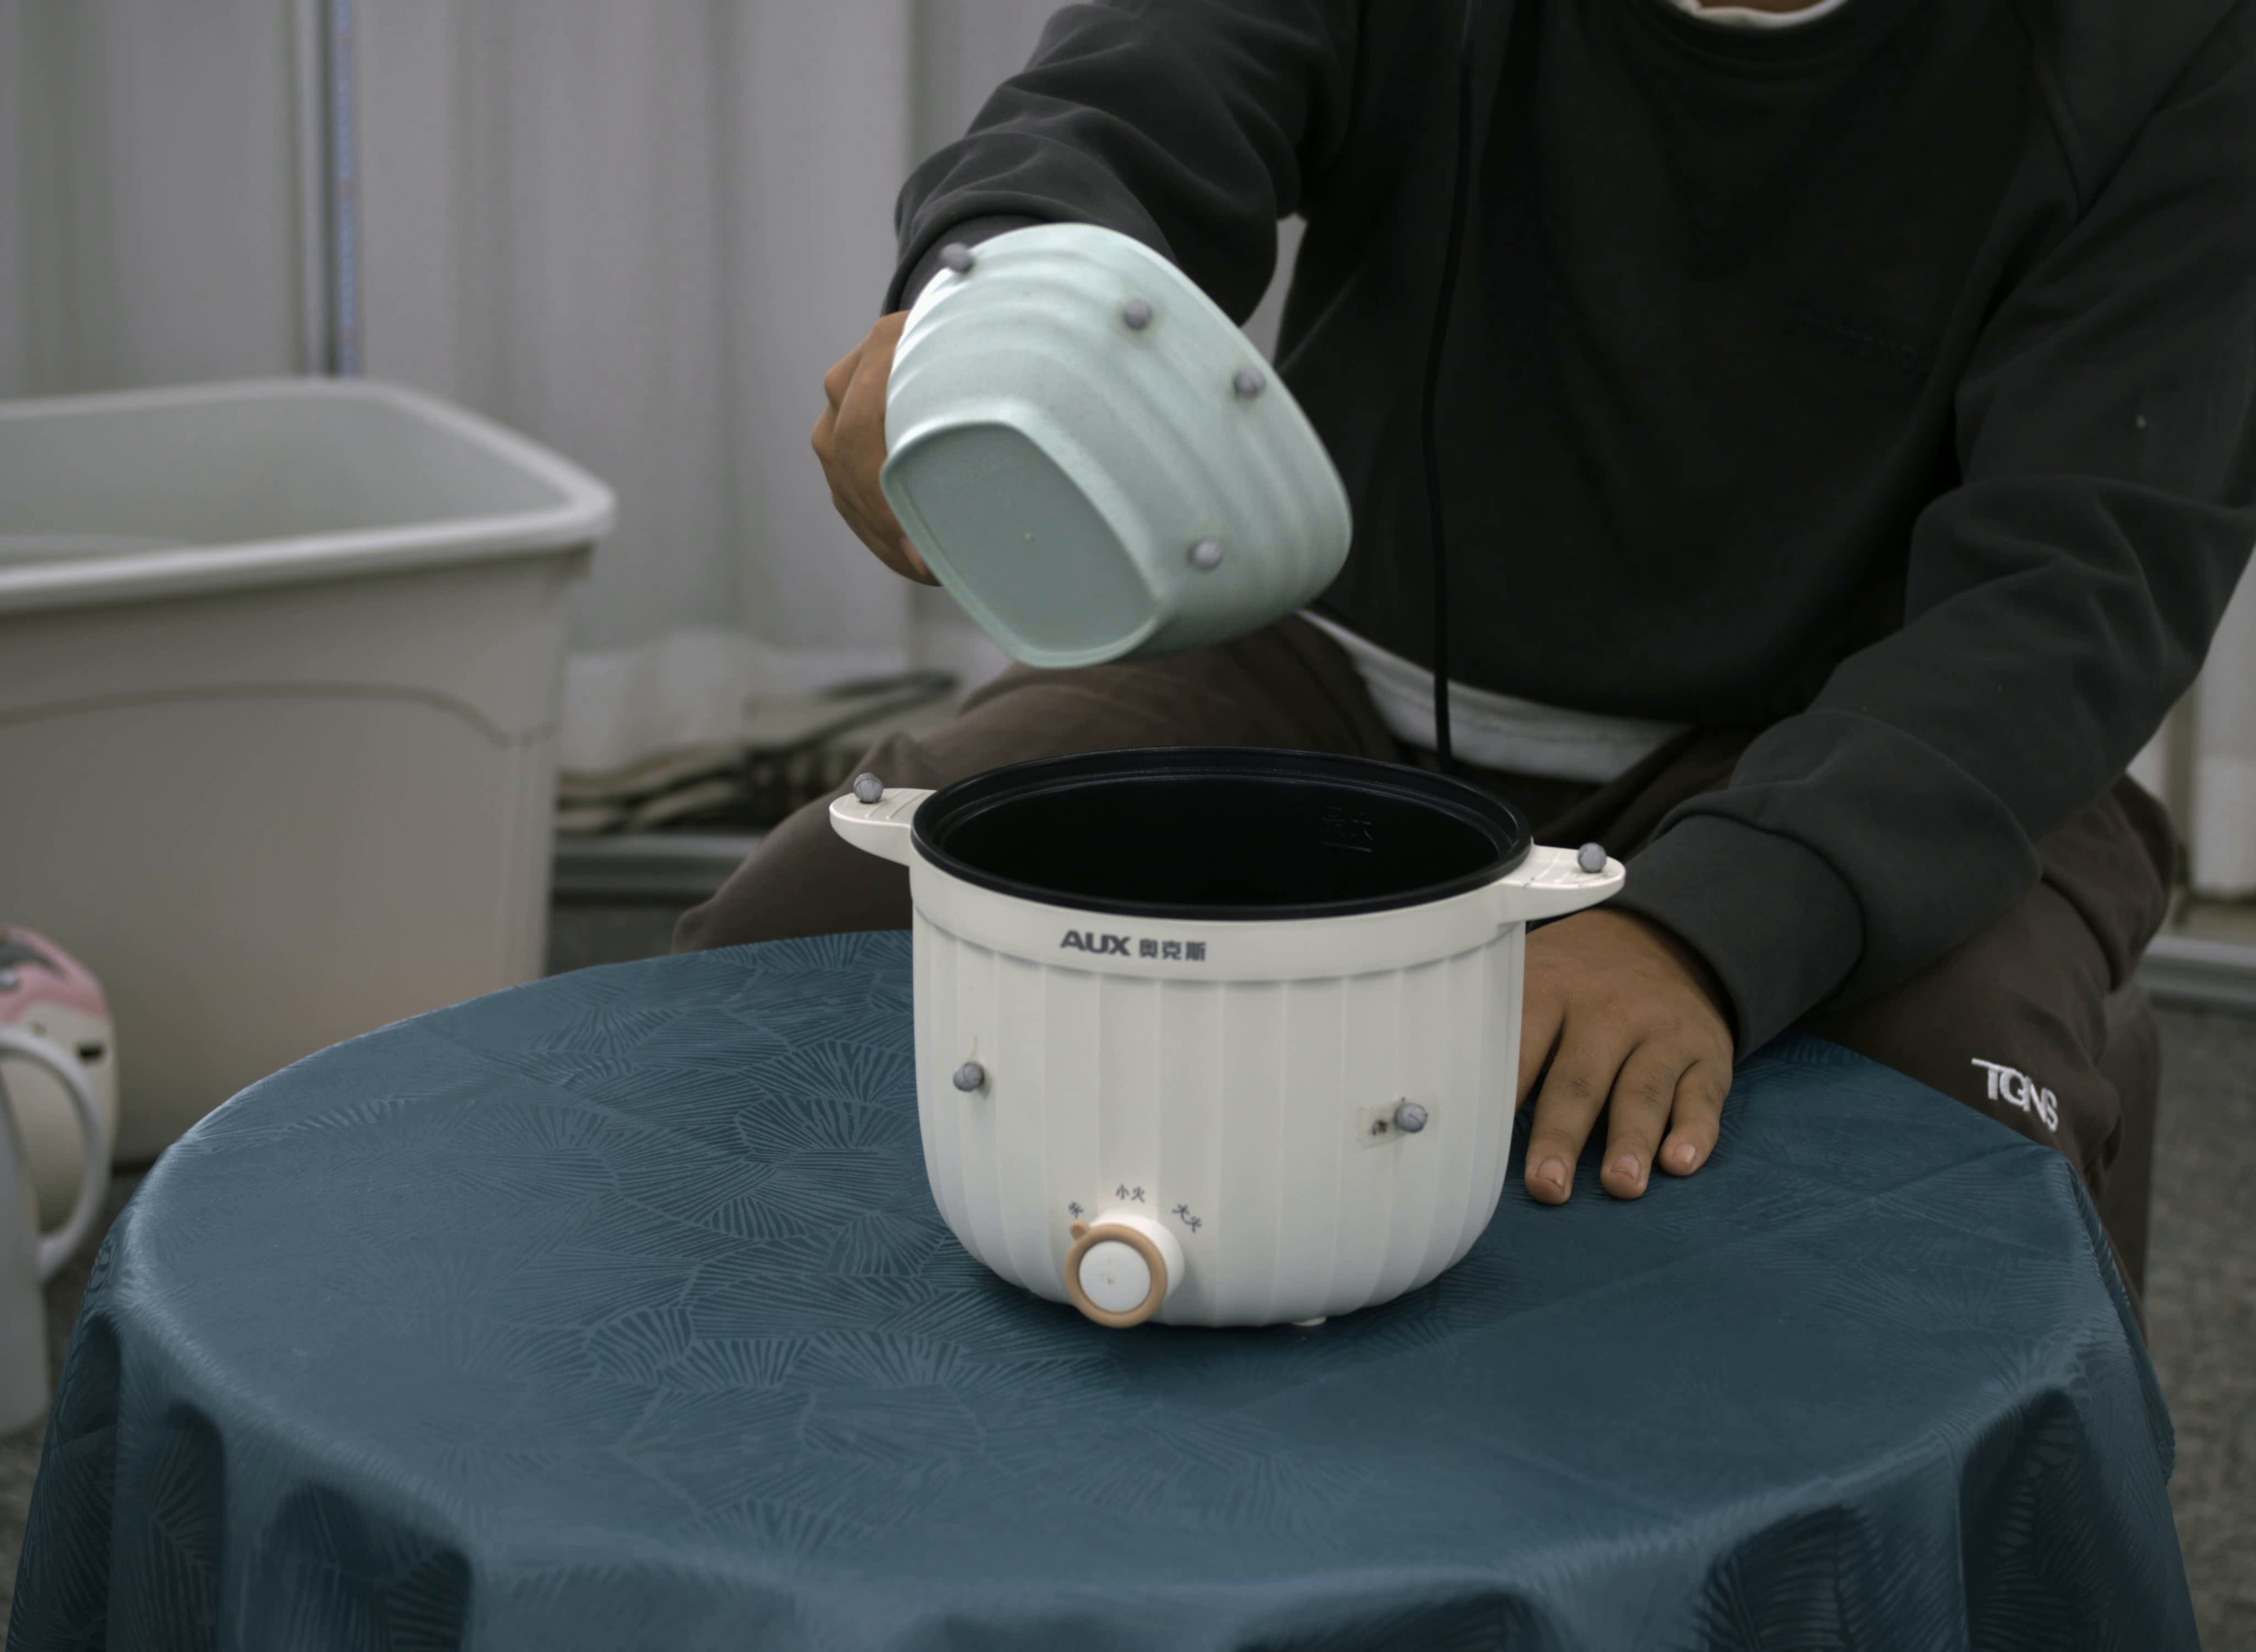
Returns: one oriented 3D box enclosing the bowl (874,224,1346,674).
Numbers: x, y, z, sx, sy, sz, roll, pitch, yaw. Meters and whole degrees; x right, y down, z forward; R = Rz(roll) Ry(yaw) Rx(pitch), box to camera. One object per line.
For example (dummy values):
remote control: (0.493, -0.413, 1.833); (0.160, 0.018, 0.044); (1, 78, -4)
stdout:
bowl: (-0.016, -0.096, 1.489); (0.149, 0.153, 0.058); (13, 50, 37)

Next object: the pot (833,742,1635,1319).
pot: (0.028, 0.062, 1.543); (0.238, 0.143, 0.190); (3, 13, 15)
